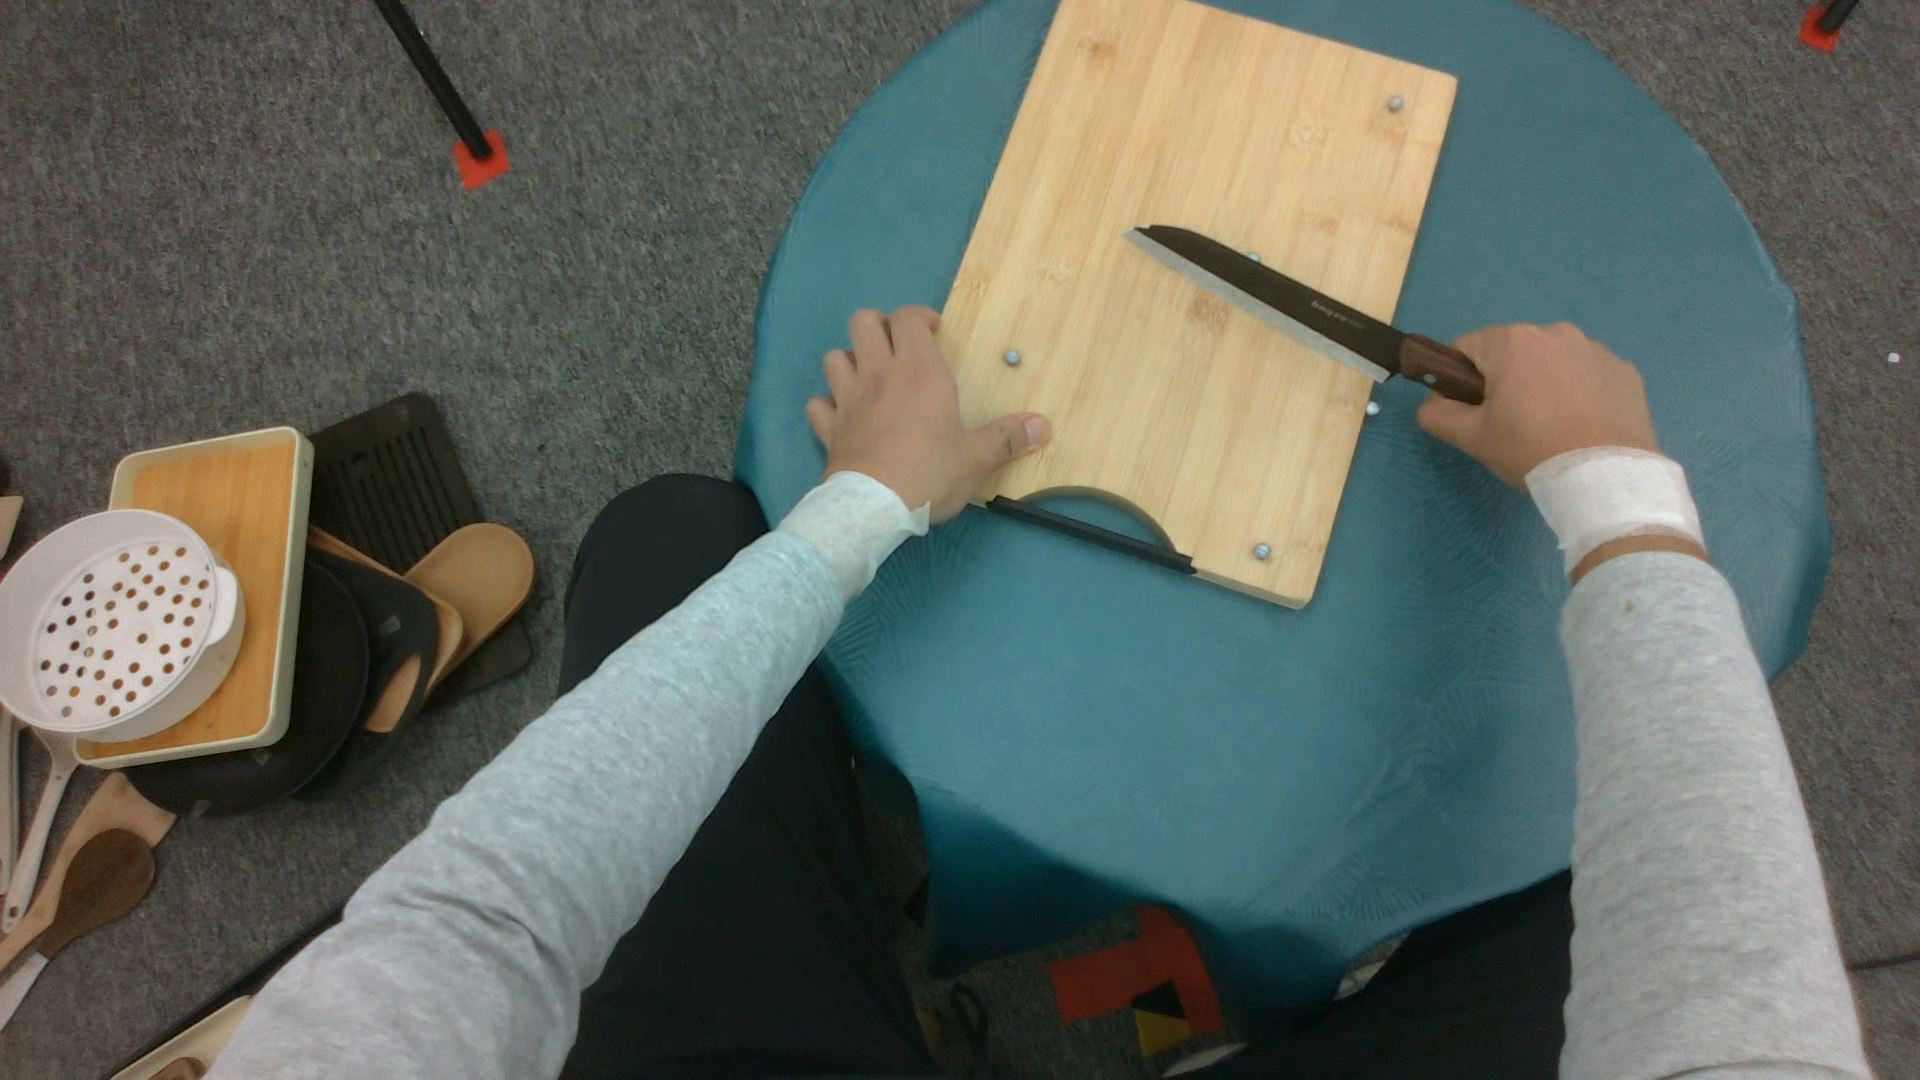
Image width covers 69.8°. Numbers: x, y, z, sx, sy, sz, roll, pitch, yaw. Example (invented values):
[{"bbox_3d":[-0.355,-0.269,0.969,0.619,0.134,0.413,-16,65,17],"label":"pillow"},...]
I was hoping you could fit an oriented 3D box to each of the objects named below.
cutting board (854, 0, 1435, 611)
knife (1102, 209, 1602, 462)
[{"bbox_3d":[0.113,-0.155,0.791,0.250,0.023,0.349,17,73,5],"label":"cutting board"},{"bbox_3d":[0.206,-0.114,0.744,0.289,0.050,0.020,28,62,10],"label":"knife"}]
